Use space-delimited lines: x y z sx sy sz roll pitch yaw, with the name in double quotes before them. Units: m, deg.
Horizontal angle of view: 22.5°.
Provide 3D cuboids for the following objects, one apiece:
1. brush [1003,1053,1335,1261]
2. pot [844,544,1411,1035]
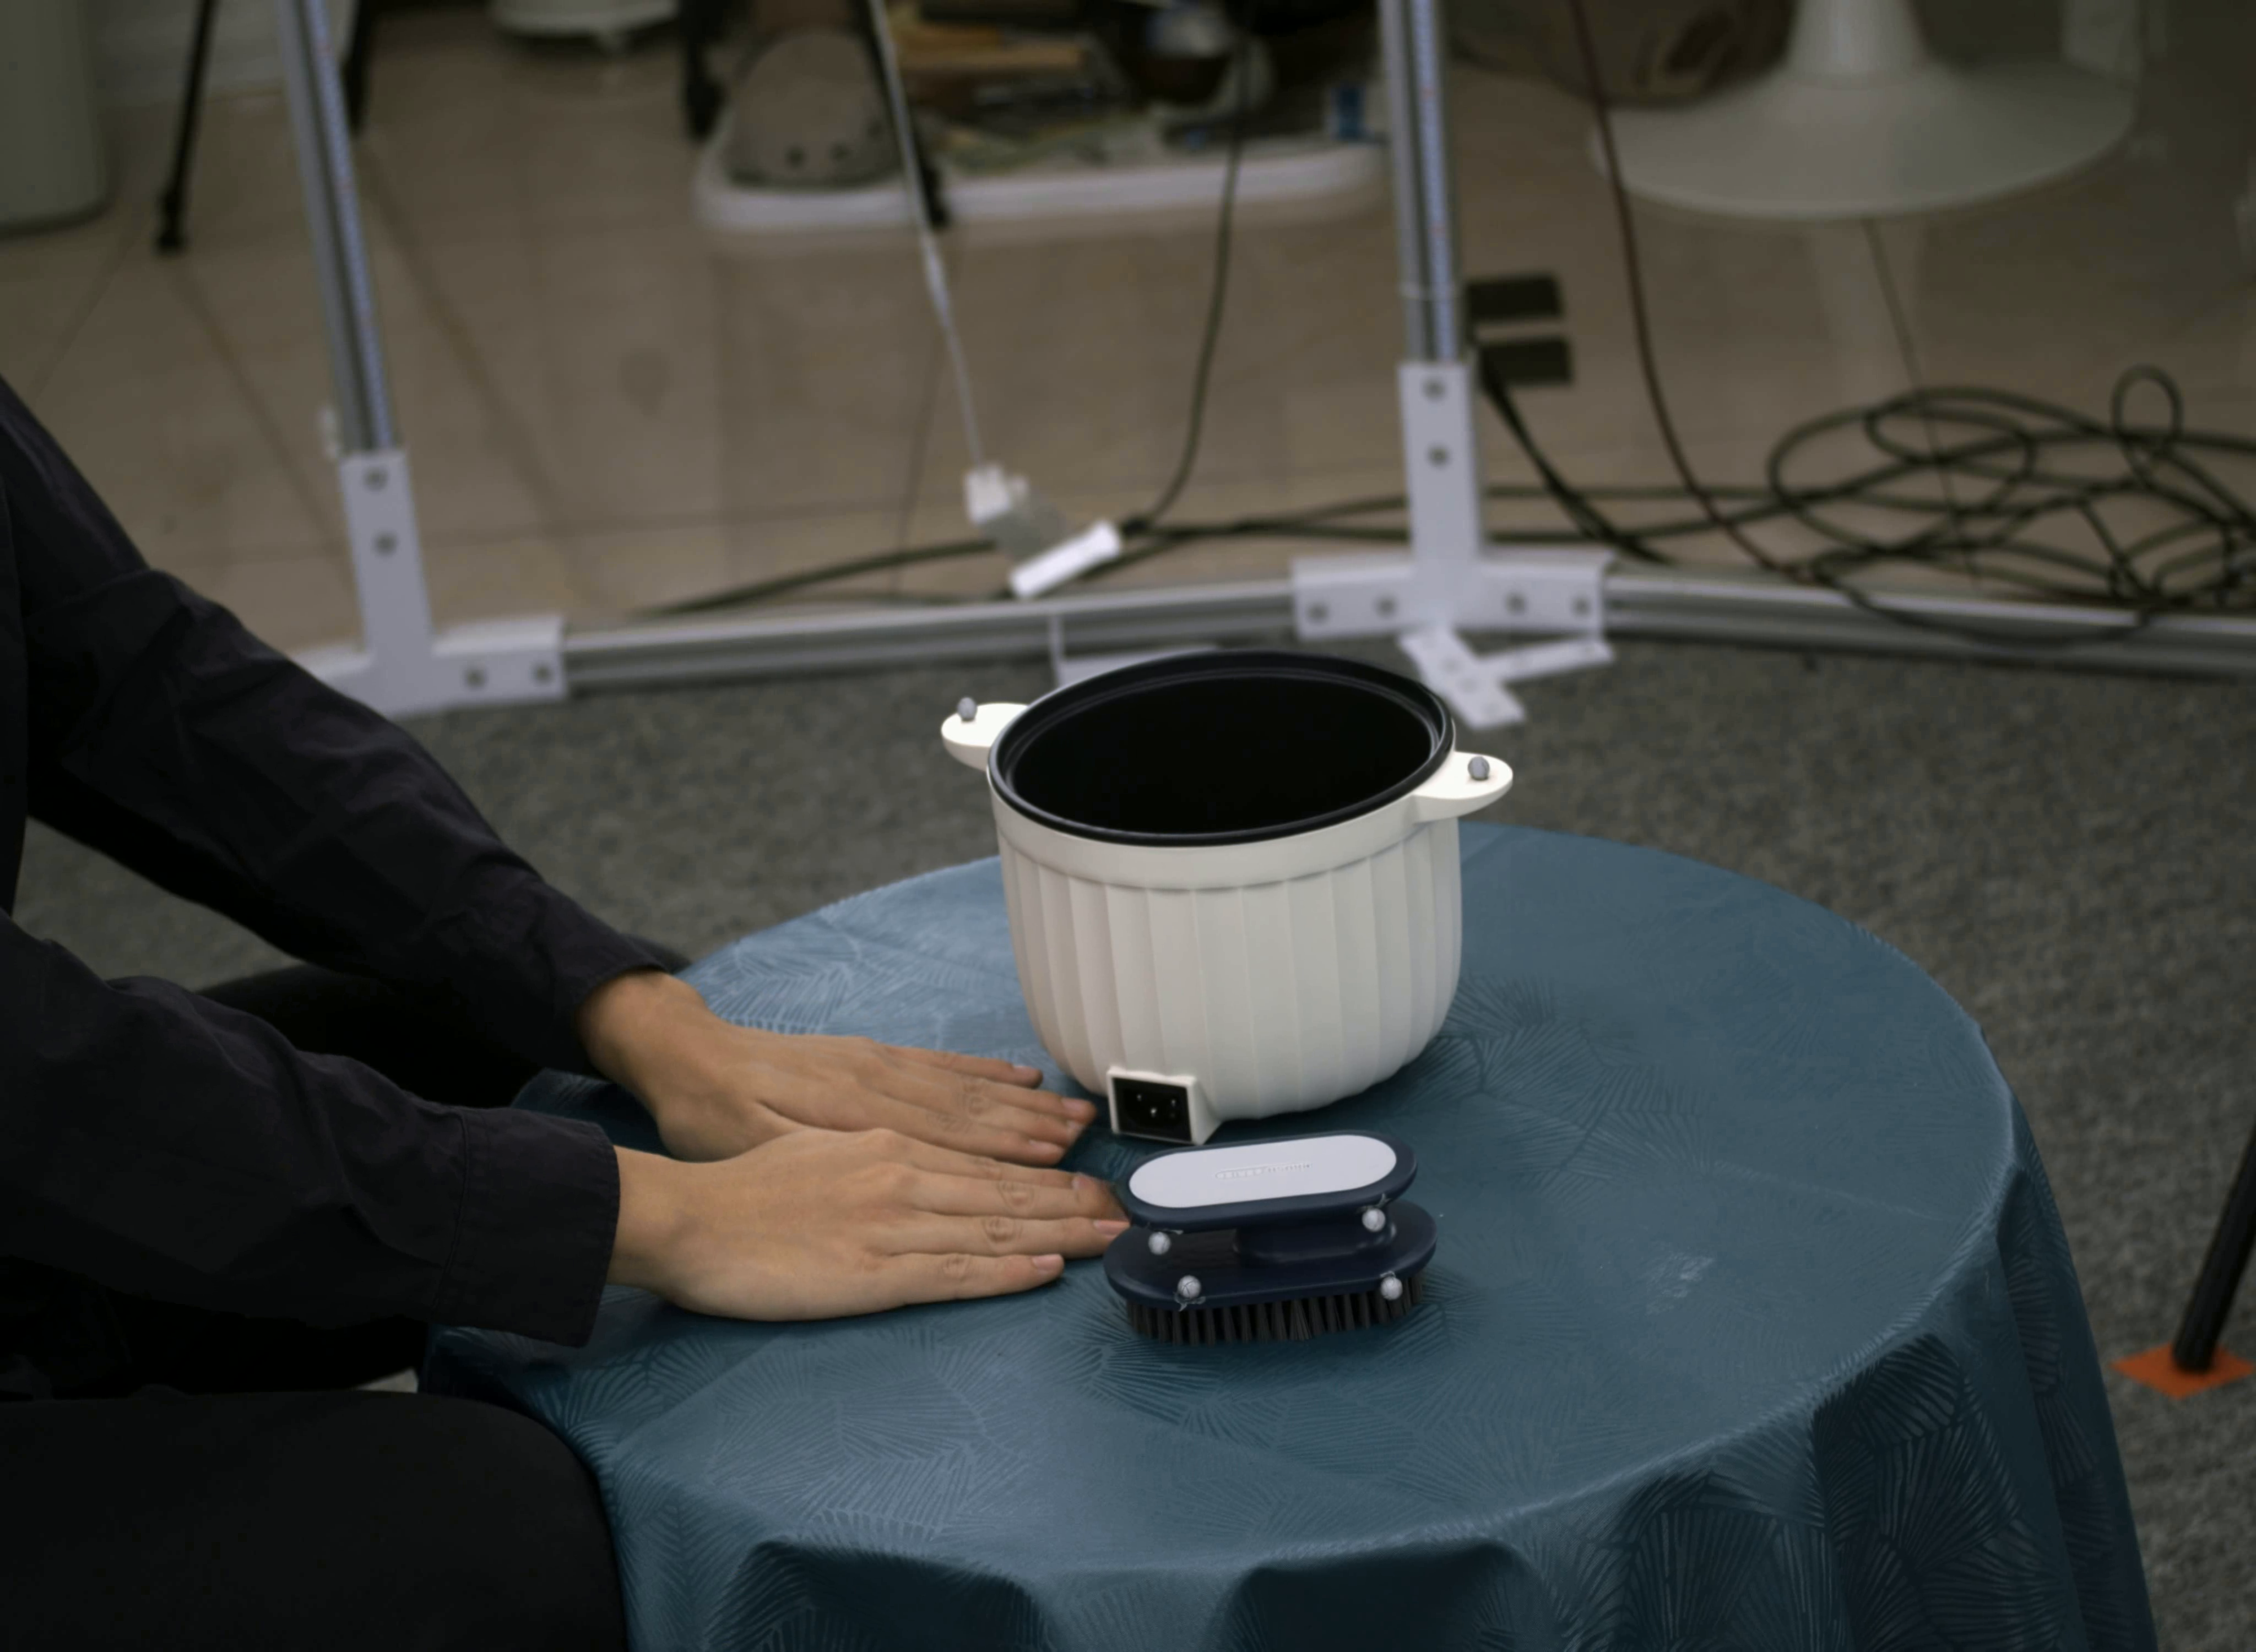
"brush" 0.015 0.123 2.068 0.121 0.062 0.067 -1 29 2
"pot" 0.005 -0.018 2.246 0.239 0.145 0.188 8 32 23
